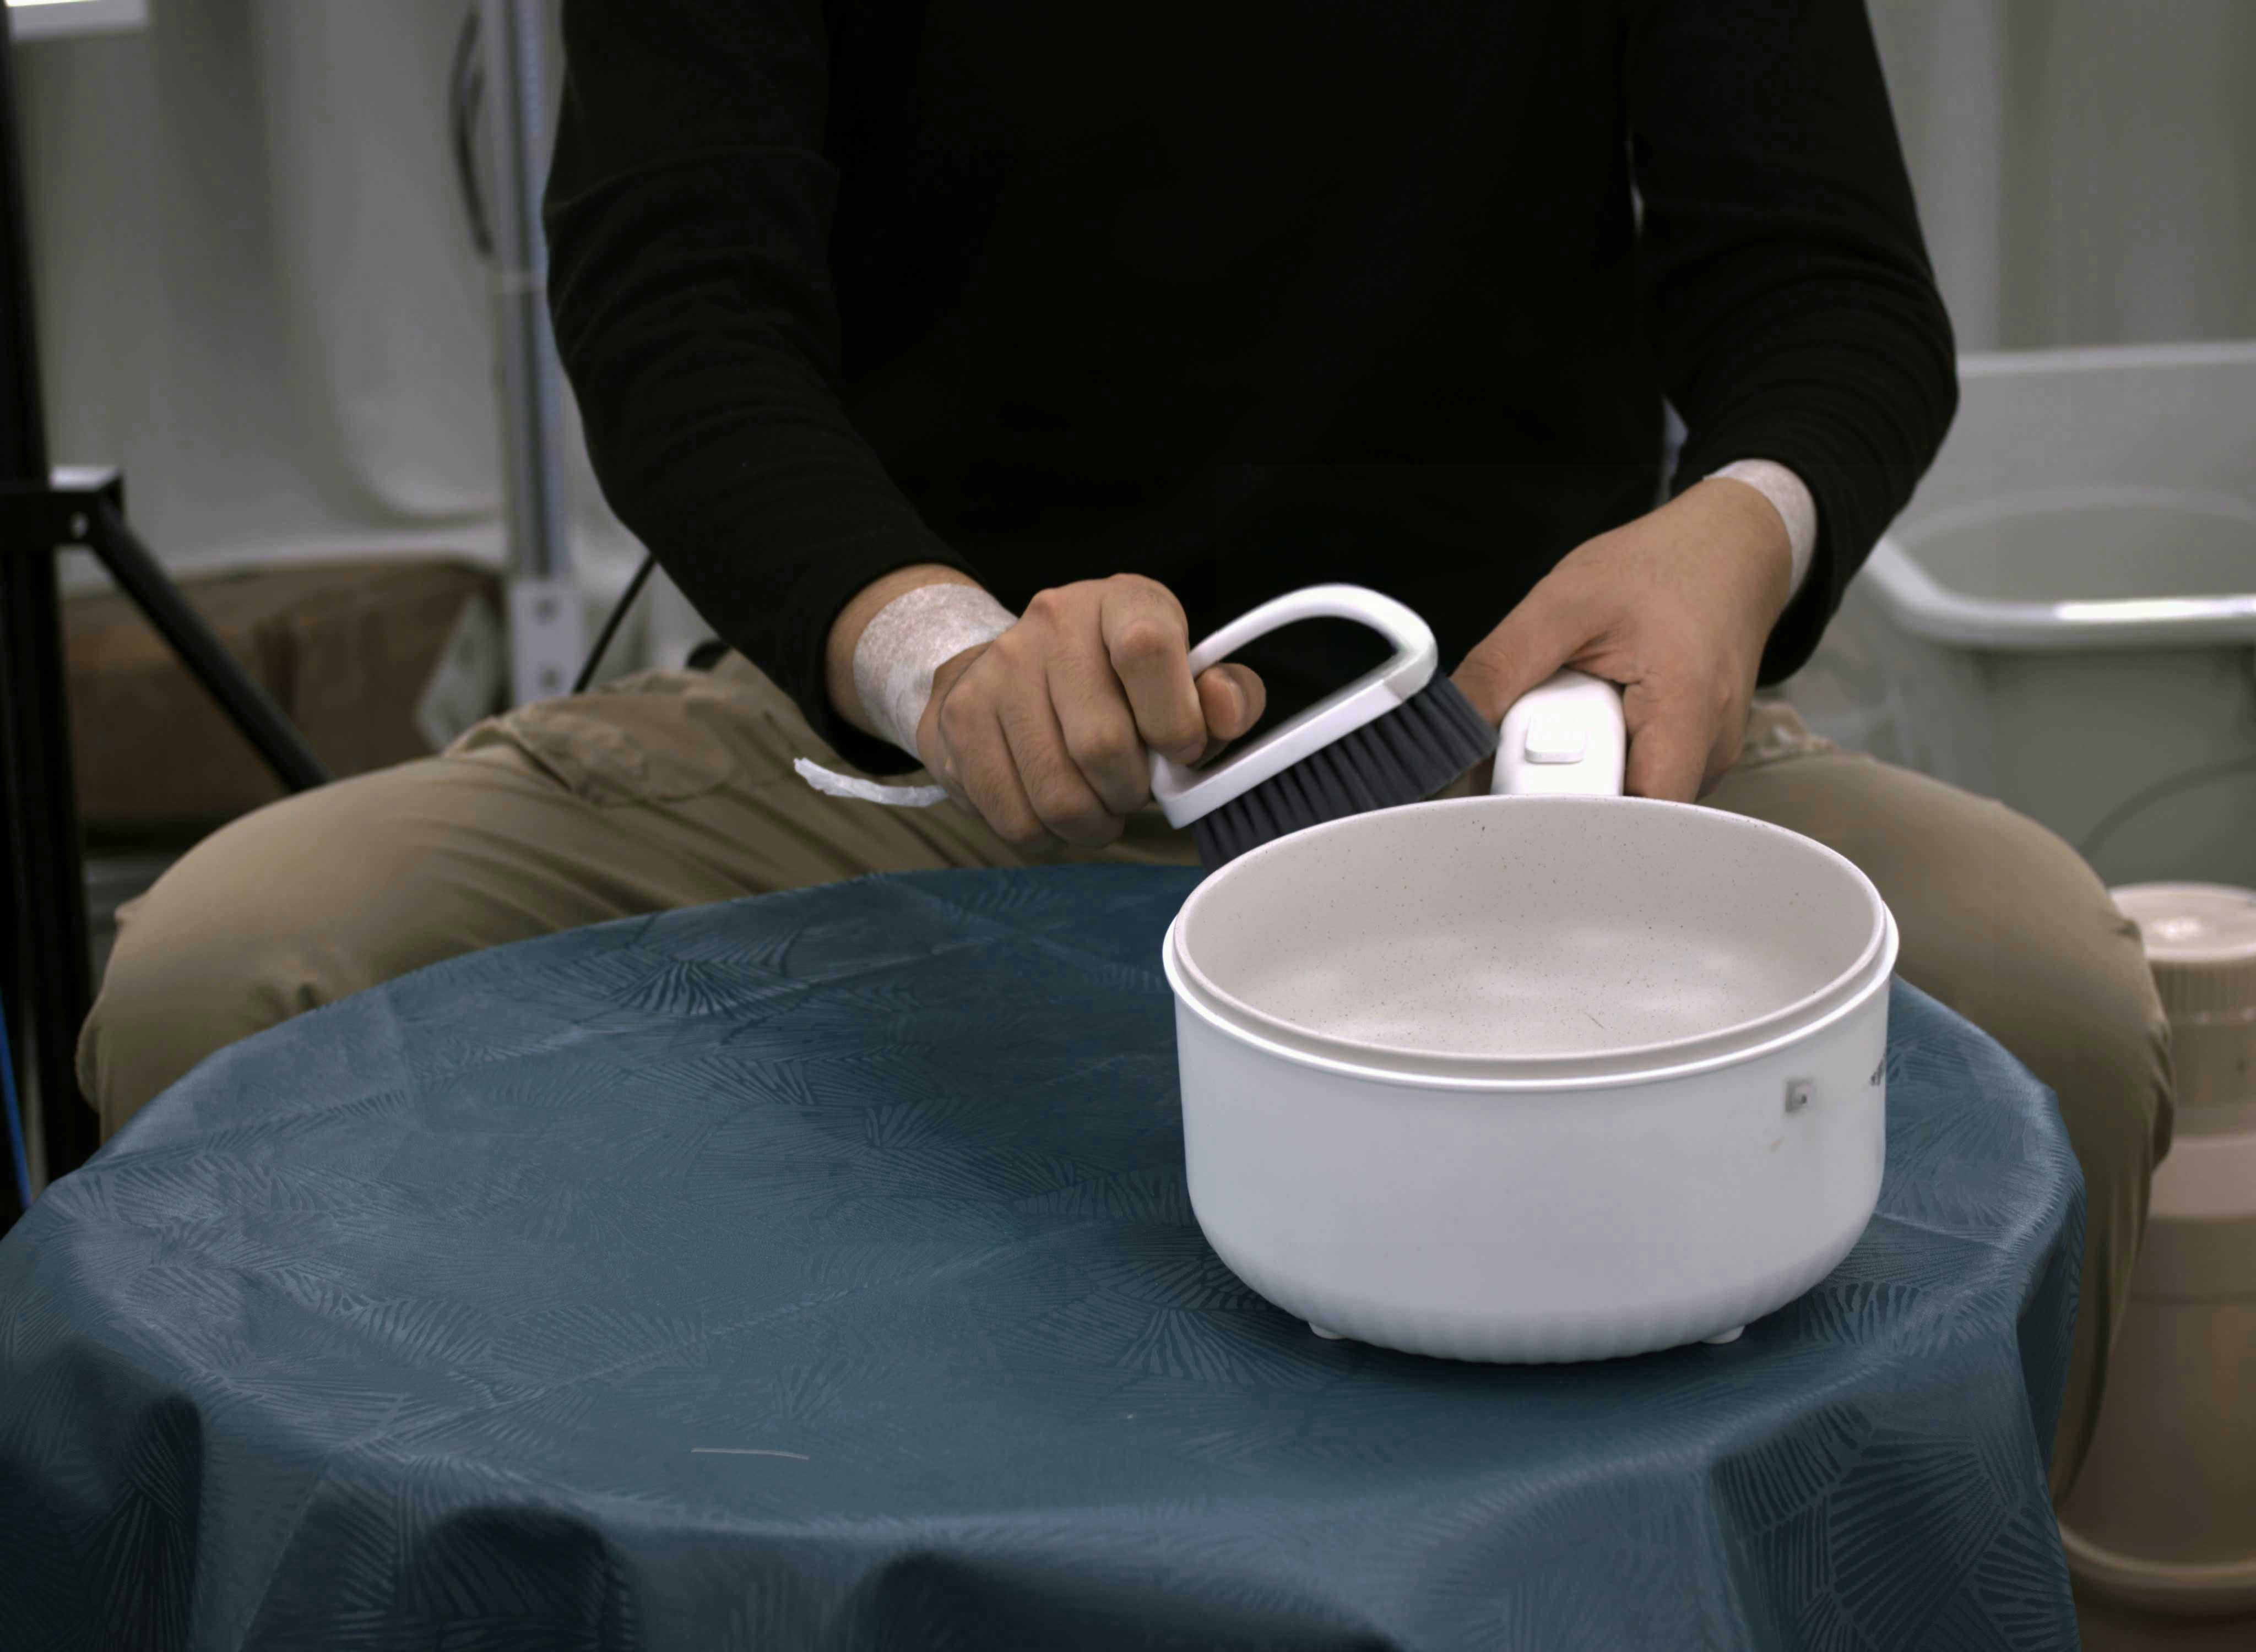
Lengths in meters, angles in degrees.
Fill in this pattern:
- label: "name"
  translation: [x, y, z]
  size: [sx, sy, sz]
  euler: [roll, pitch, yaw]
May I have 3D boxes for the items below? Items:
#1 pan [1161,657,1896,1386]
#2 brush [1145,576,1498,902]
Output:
- label: "pan"
  translation: [0.121, 0.052, 1.534]
  size: [0.202, 0.102, 0.354]
  euler: [-4, 19, 8]
- label: "brush"
  translation: [0.050, -0.032, 1.569]
  size: [0.100, 0.072, 0.050]
  euler: [-31, 6, 23]
